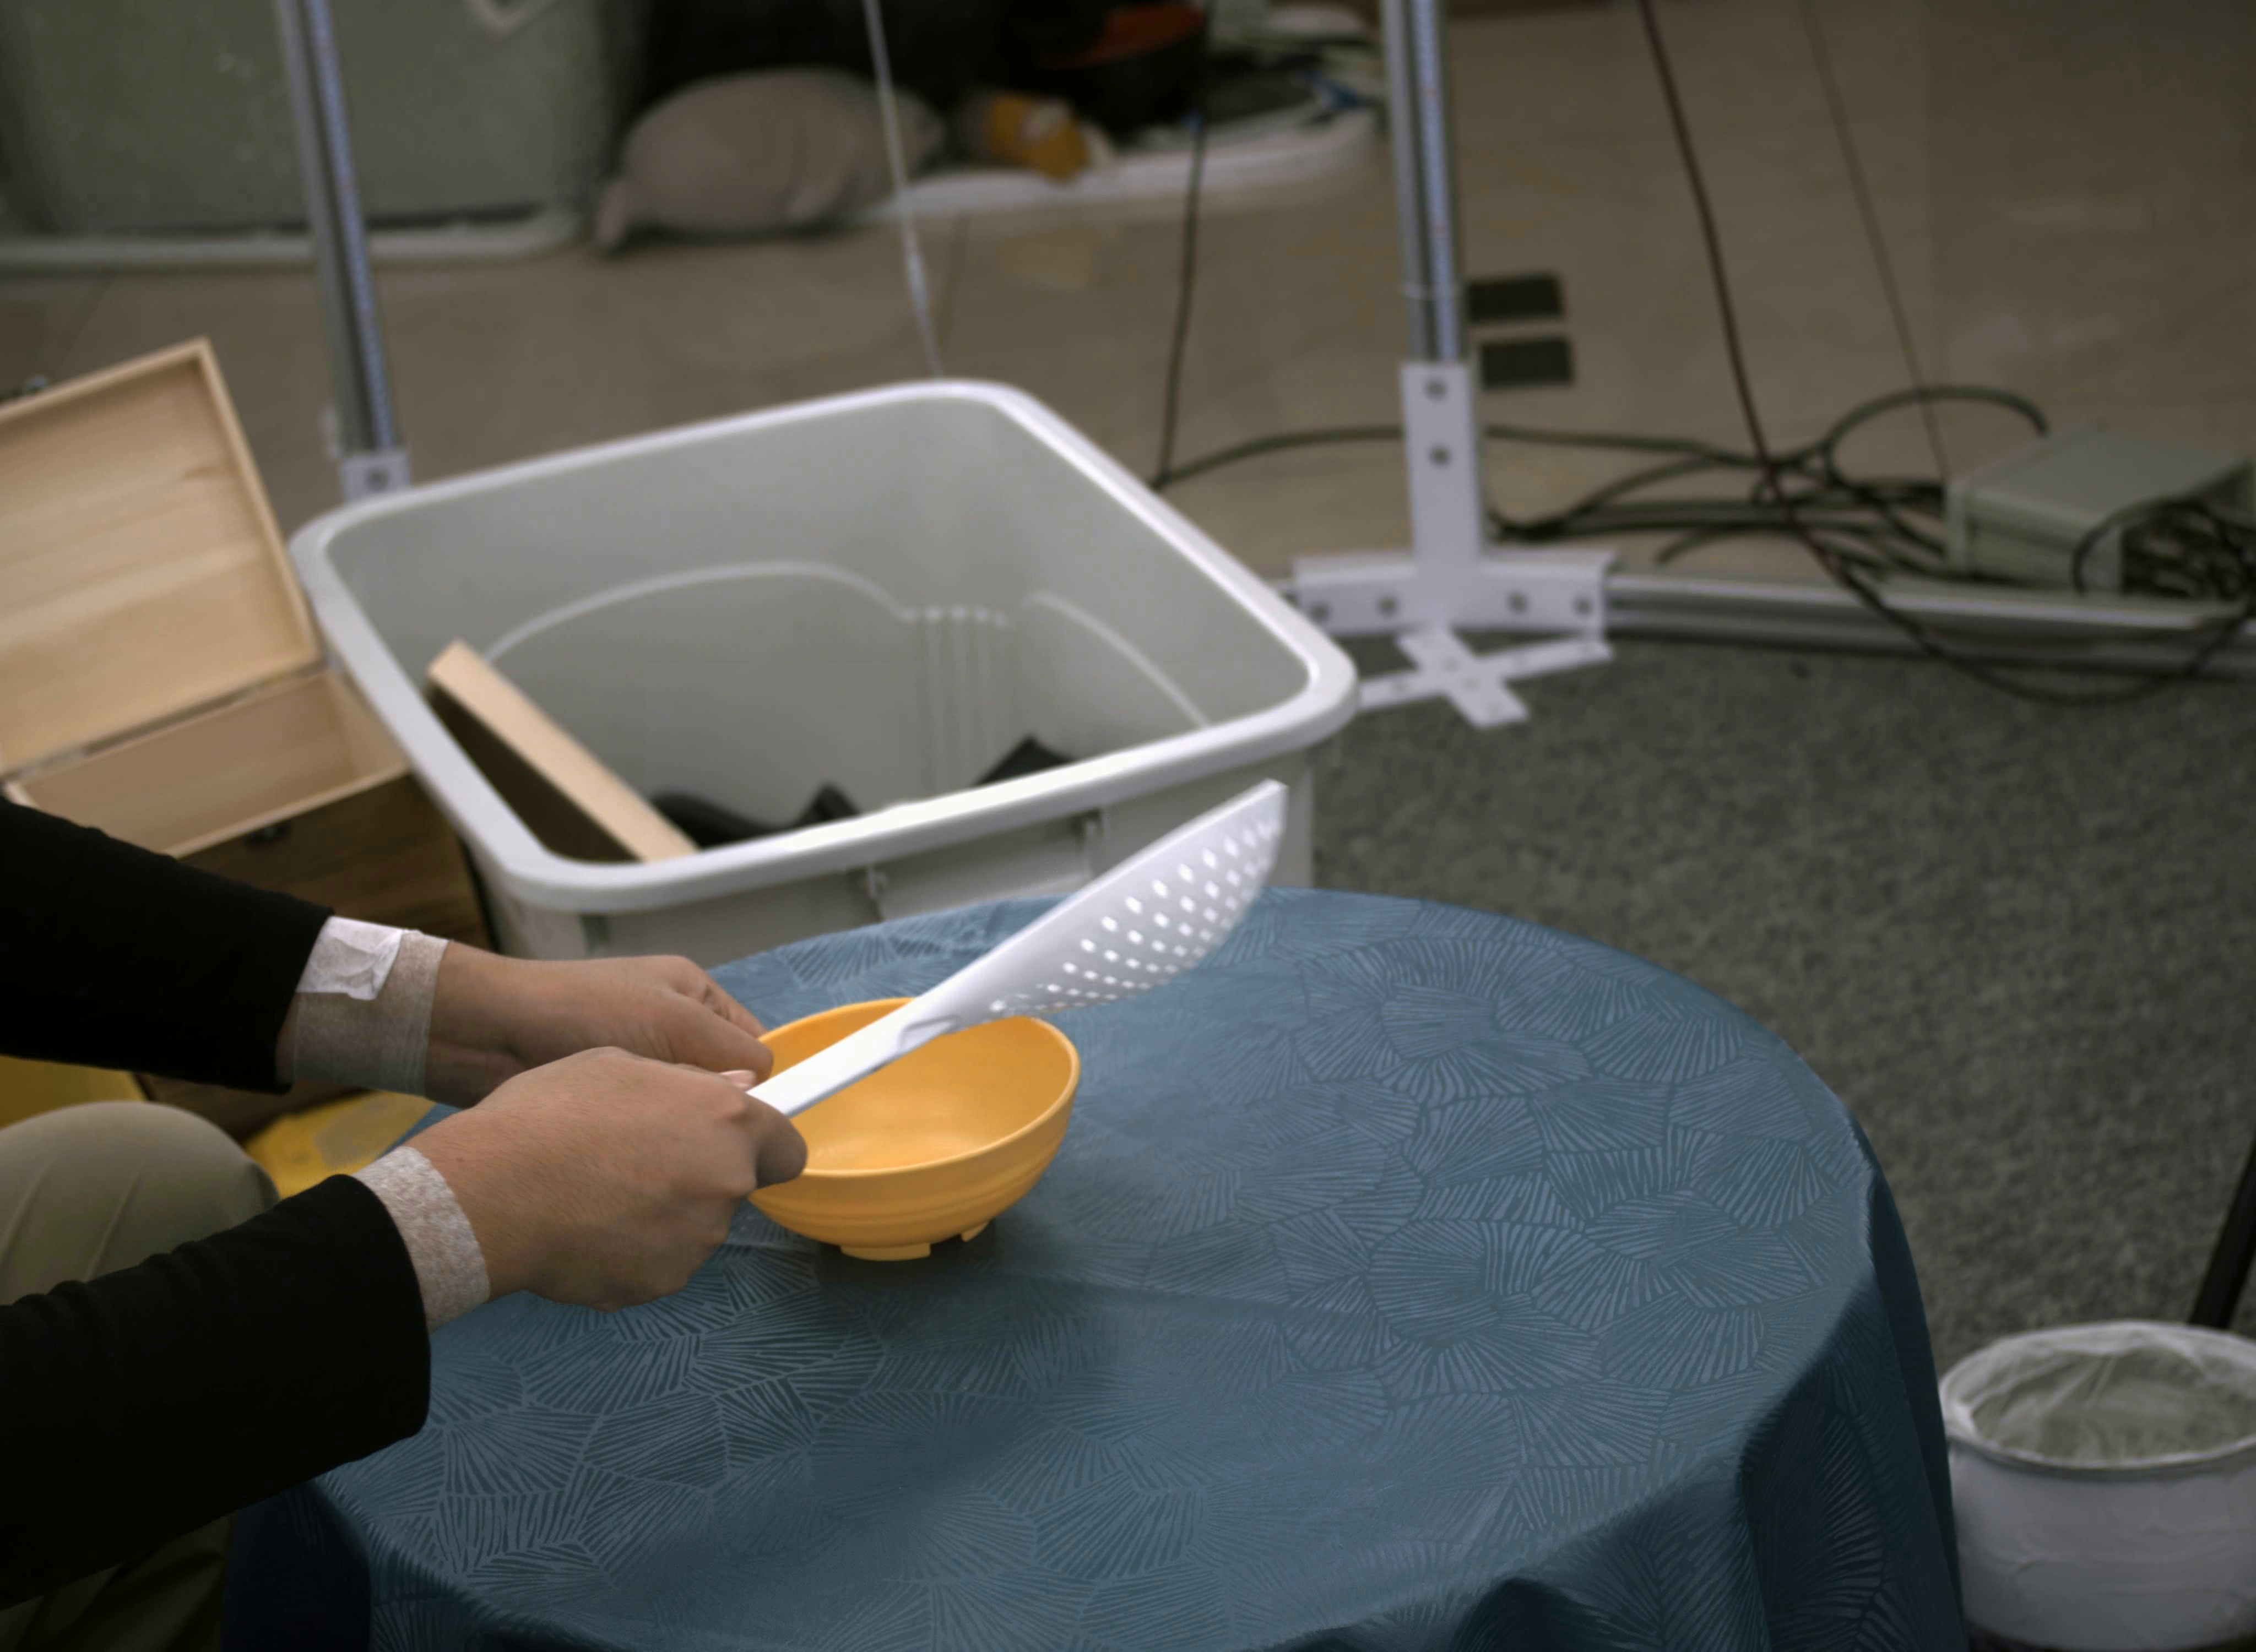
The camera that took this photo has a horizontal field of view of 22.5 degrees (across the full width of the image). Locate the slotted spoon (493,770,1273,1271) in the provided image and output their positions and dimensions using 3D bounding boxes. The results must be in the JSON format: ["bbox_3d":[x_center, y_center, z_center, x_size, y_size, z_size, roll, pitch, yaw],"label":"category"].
[{"bbox_3d":[-0.080,0.070,2.005,0.347,0.045,0.137,-24,-10,-31],"label":"slotted spoon"}]

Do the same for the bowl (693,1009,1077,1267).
[{"bbox_3d":[-0.089,0.125,2.134,0.145,0.061,0.143,-4,23,2],"label":"bowl"}]
